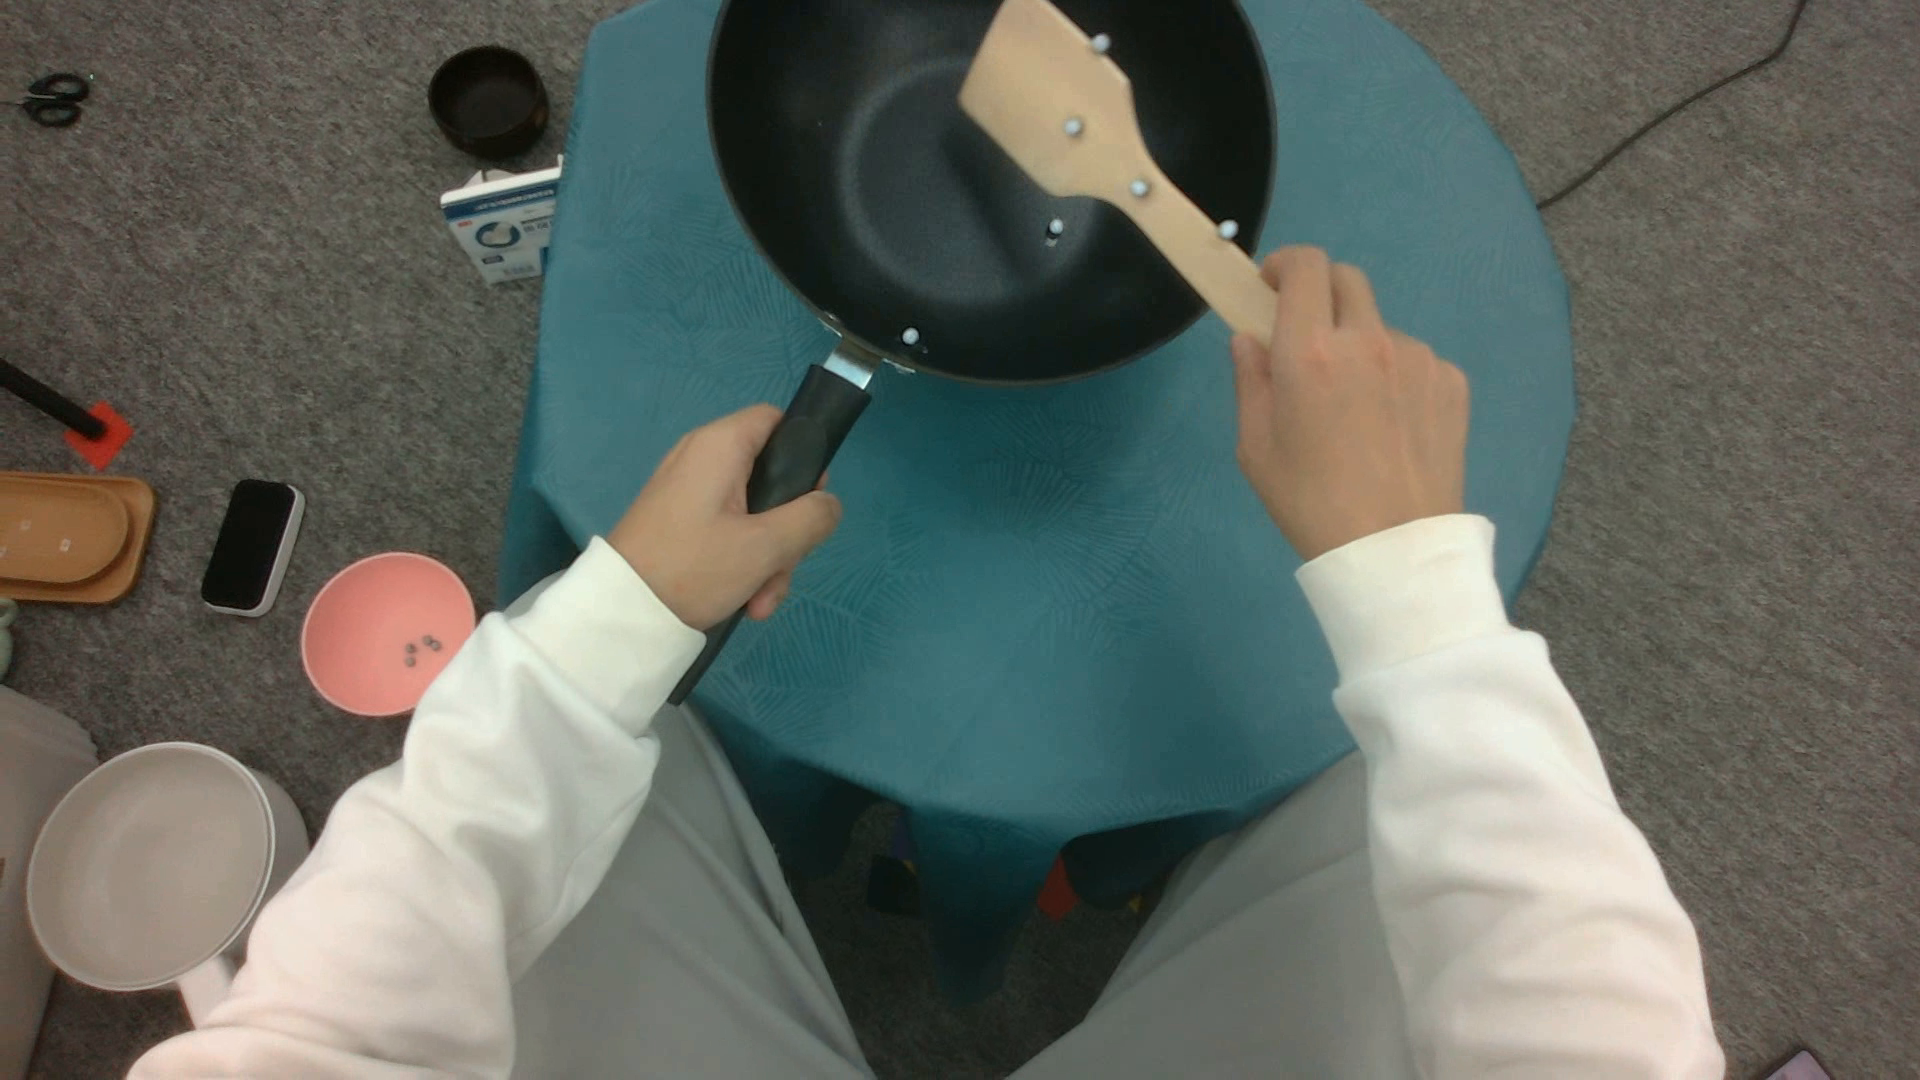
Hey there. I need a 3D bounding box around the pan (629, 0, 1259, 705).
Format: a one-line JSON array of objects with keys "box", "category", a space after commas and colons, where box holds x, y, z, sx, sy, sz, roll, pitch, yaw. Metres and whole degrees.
[{"box": [-0.033, -0.123, 0.702, 0.288, 0.086, 0.464, 27, 78, -1], "category": "pan"}]

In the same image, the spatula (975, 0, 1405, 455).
[{"box": [0.107, -0.149, 0.660, 0.011, 0.072, 0.293, -12, 56, -46], "category": "spatula"}]
